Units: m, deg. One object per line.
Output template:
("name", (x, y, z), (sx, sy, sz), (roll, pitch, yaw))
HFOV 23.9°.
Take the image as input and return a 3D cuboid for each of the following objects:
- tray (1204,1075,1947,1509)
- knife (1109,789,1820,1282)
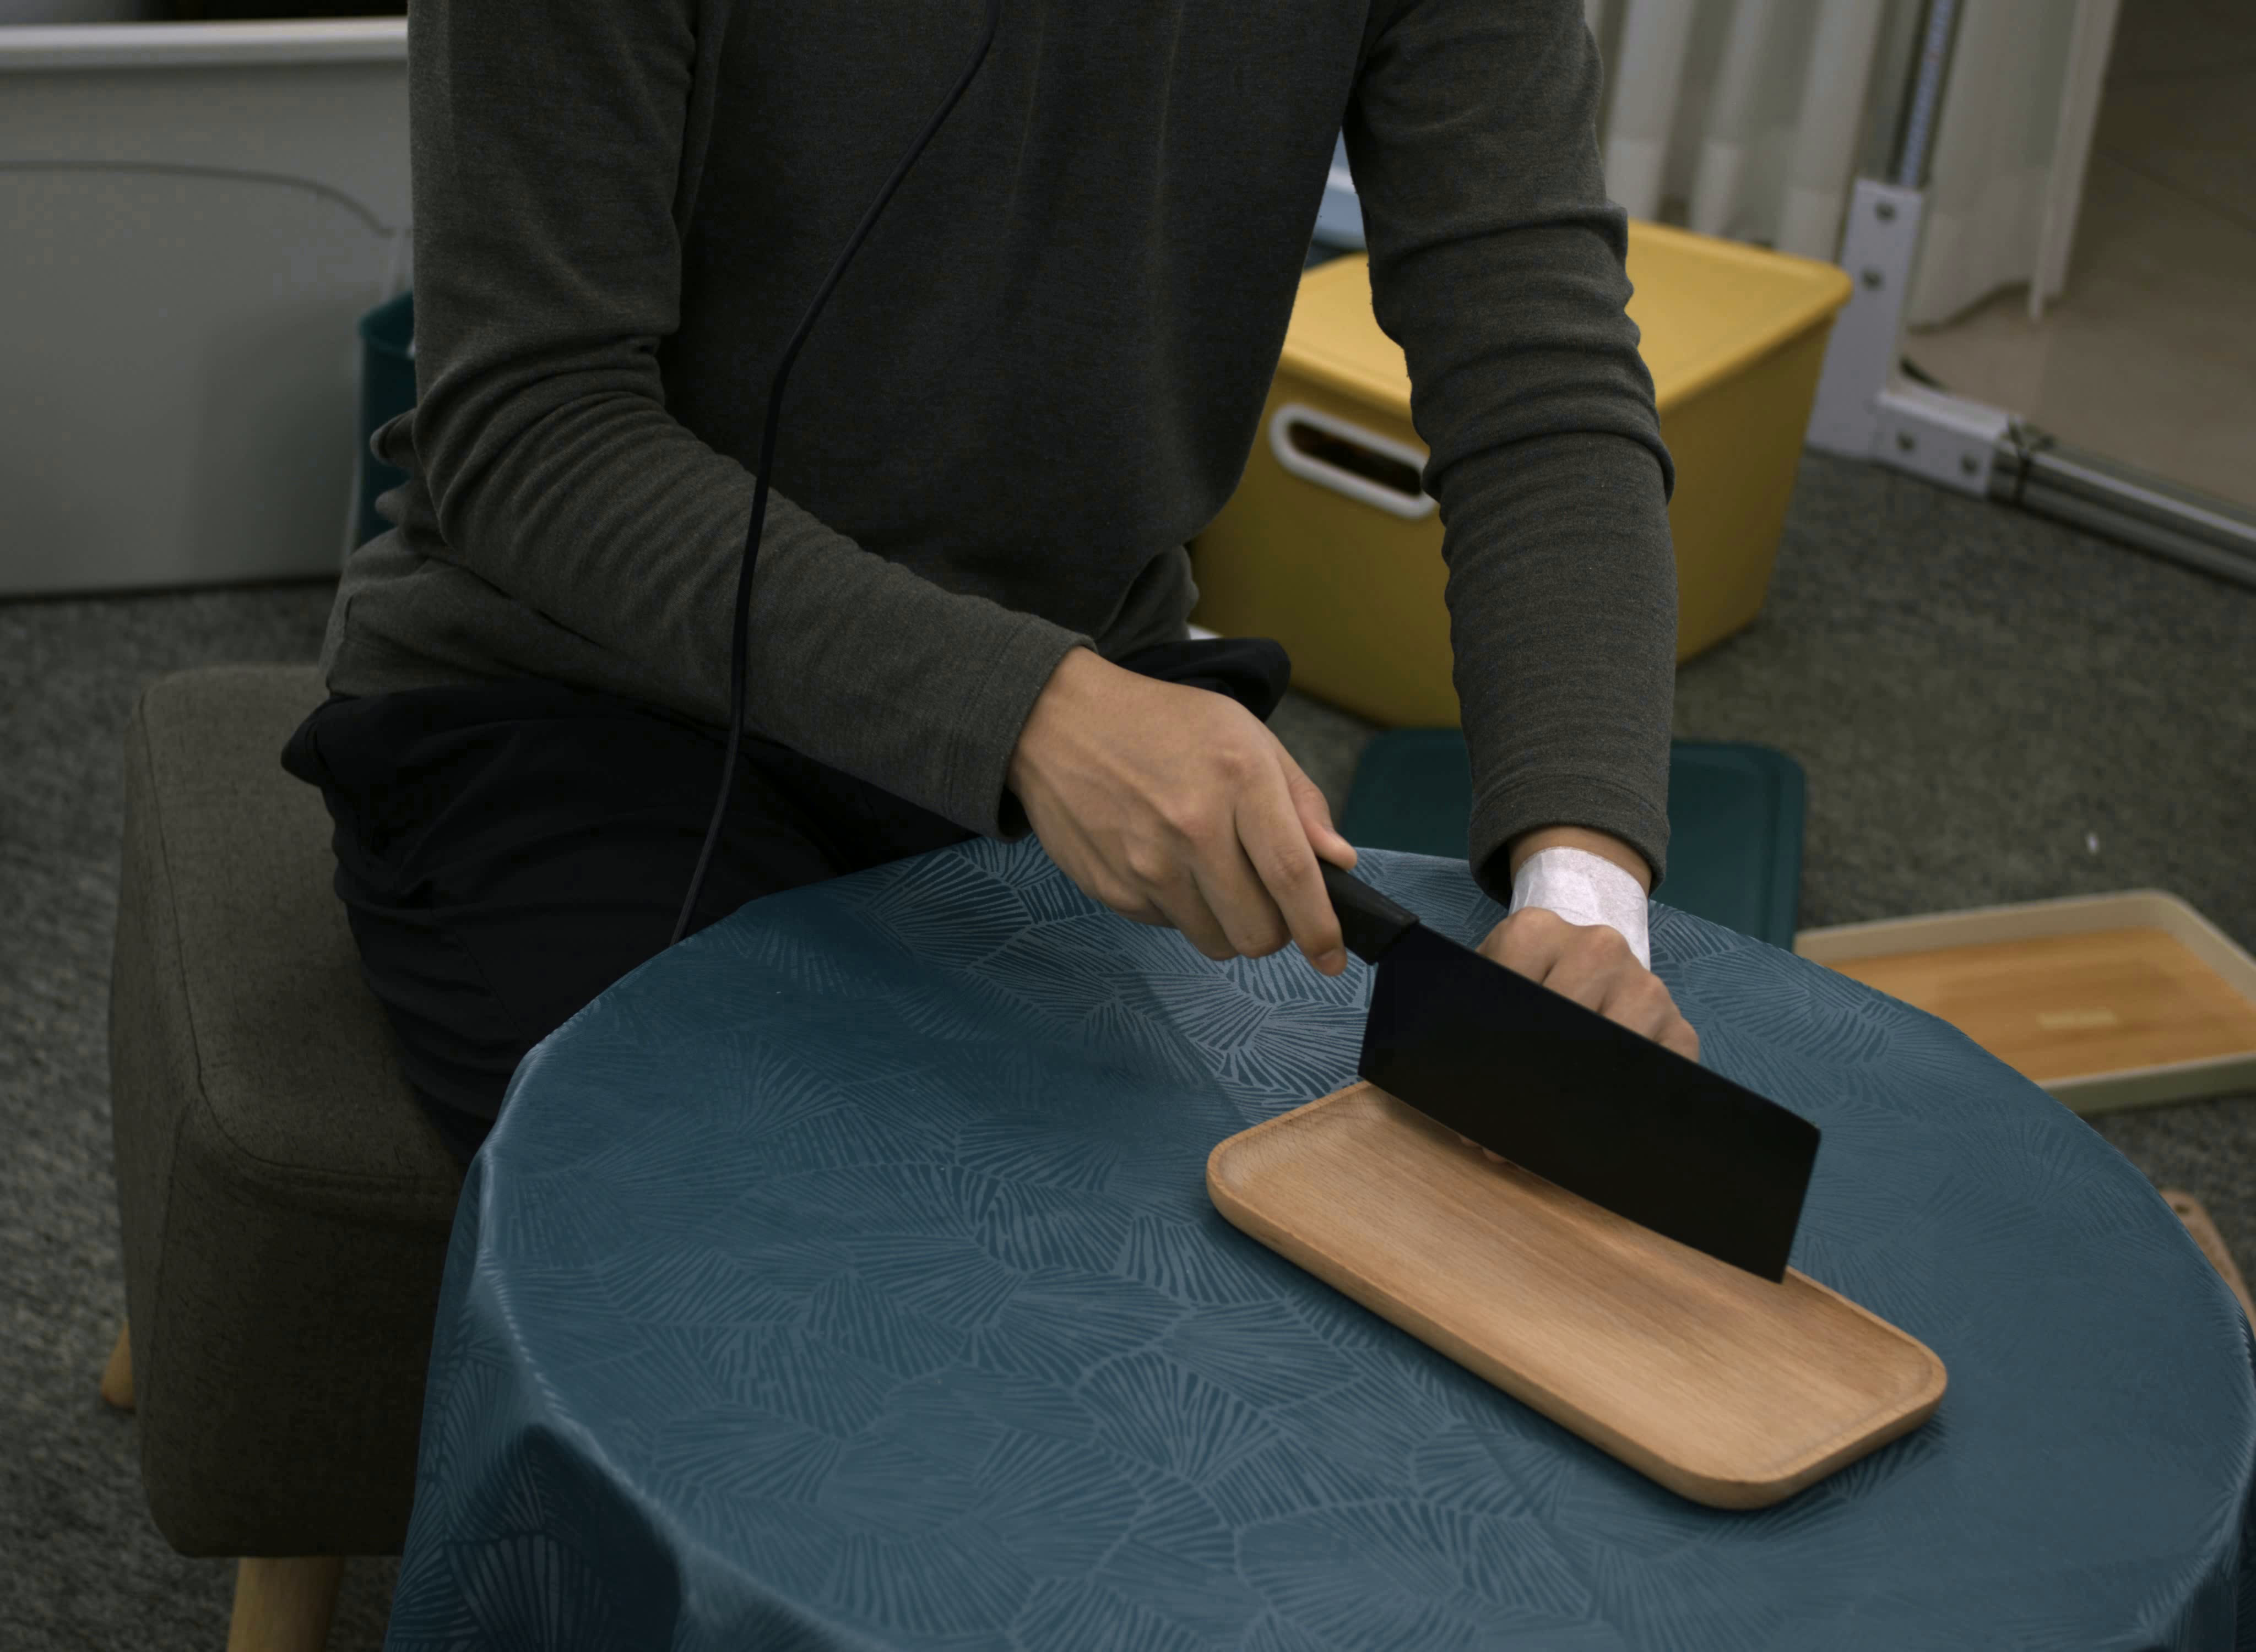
("tray", (0.145, 0.152, 1.767), (0.130, 0.023, 0.252), (-16, 33, -42))
("knife", (0.109, 0.065, 1.817), (0.304, 0.081, 0.021), (32, 30, 31))
